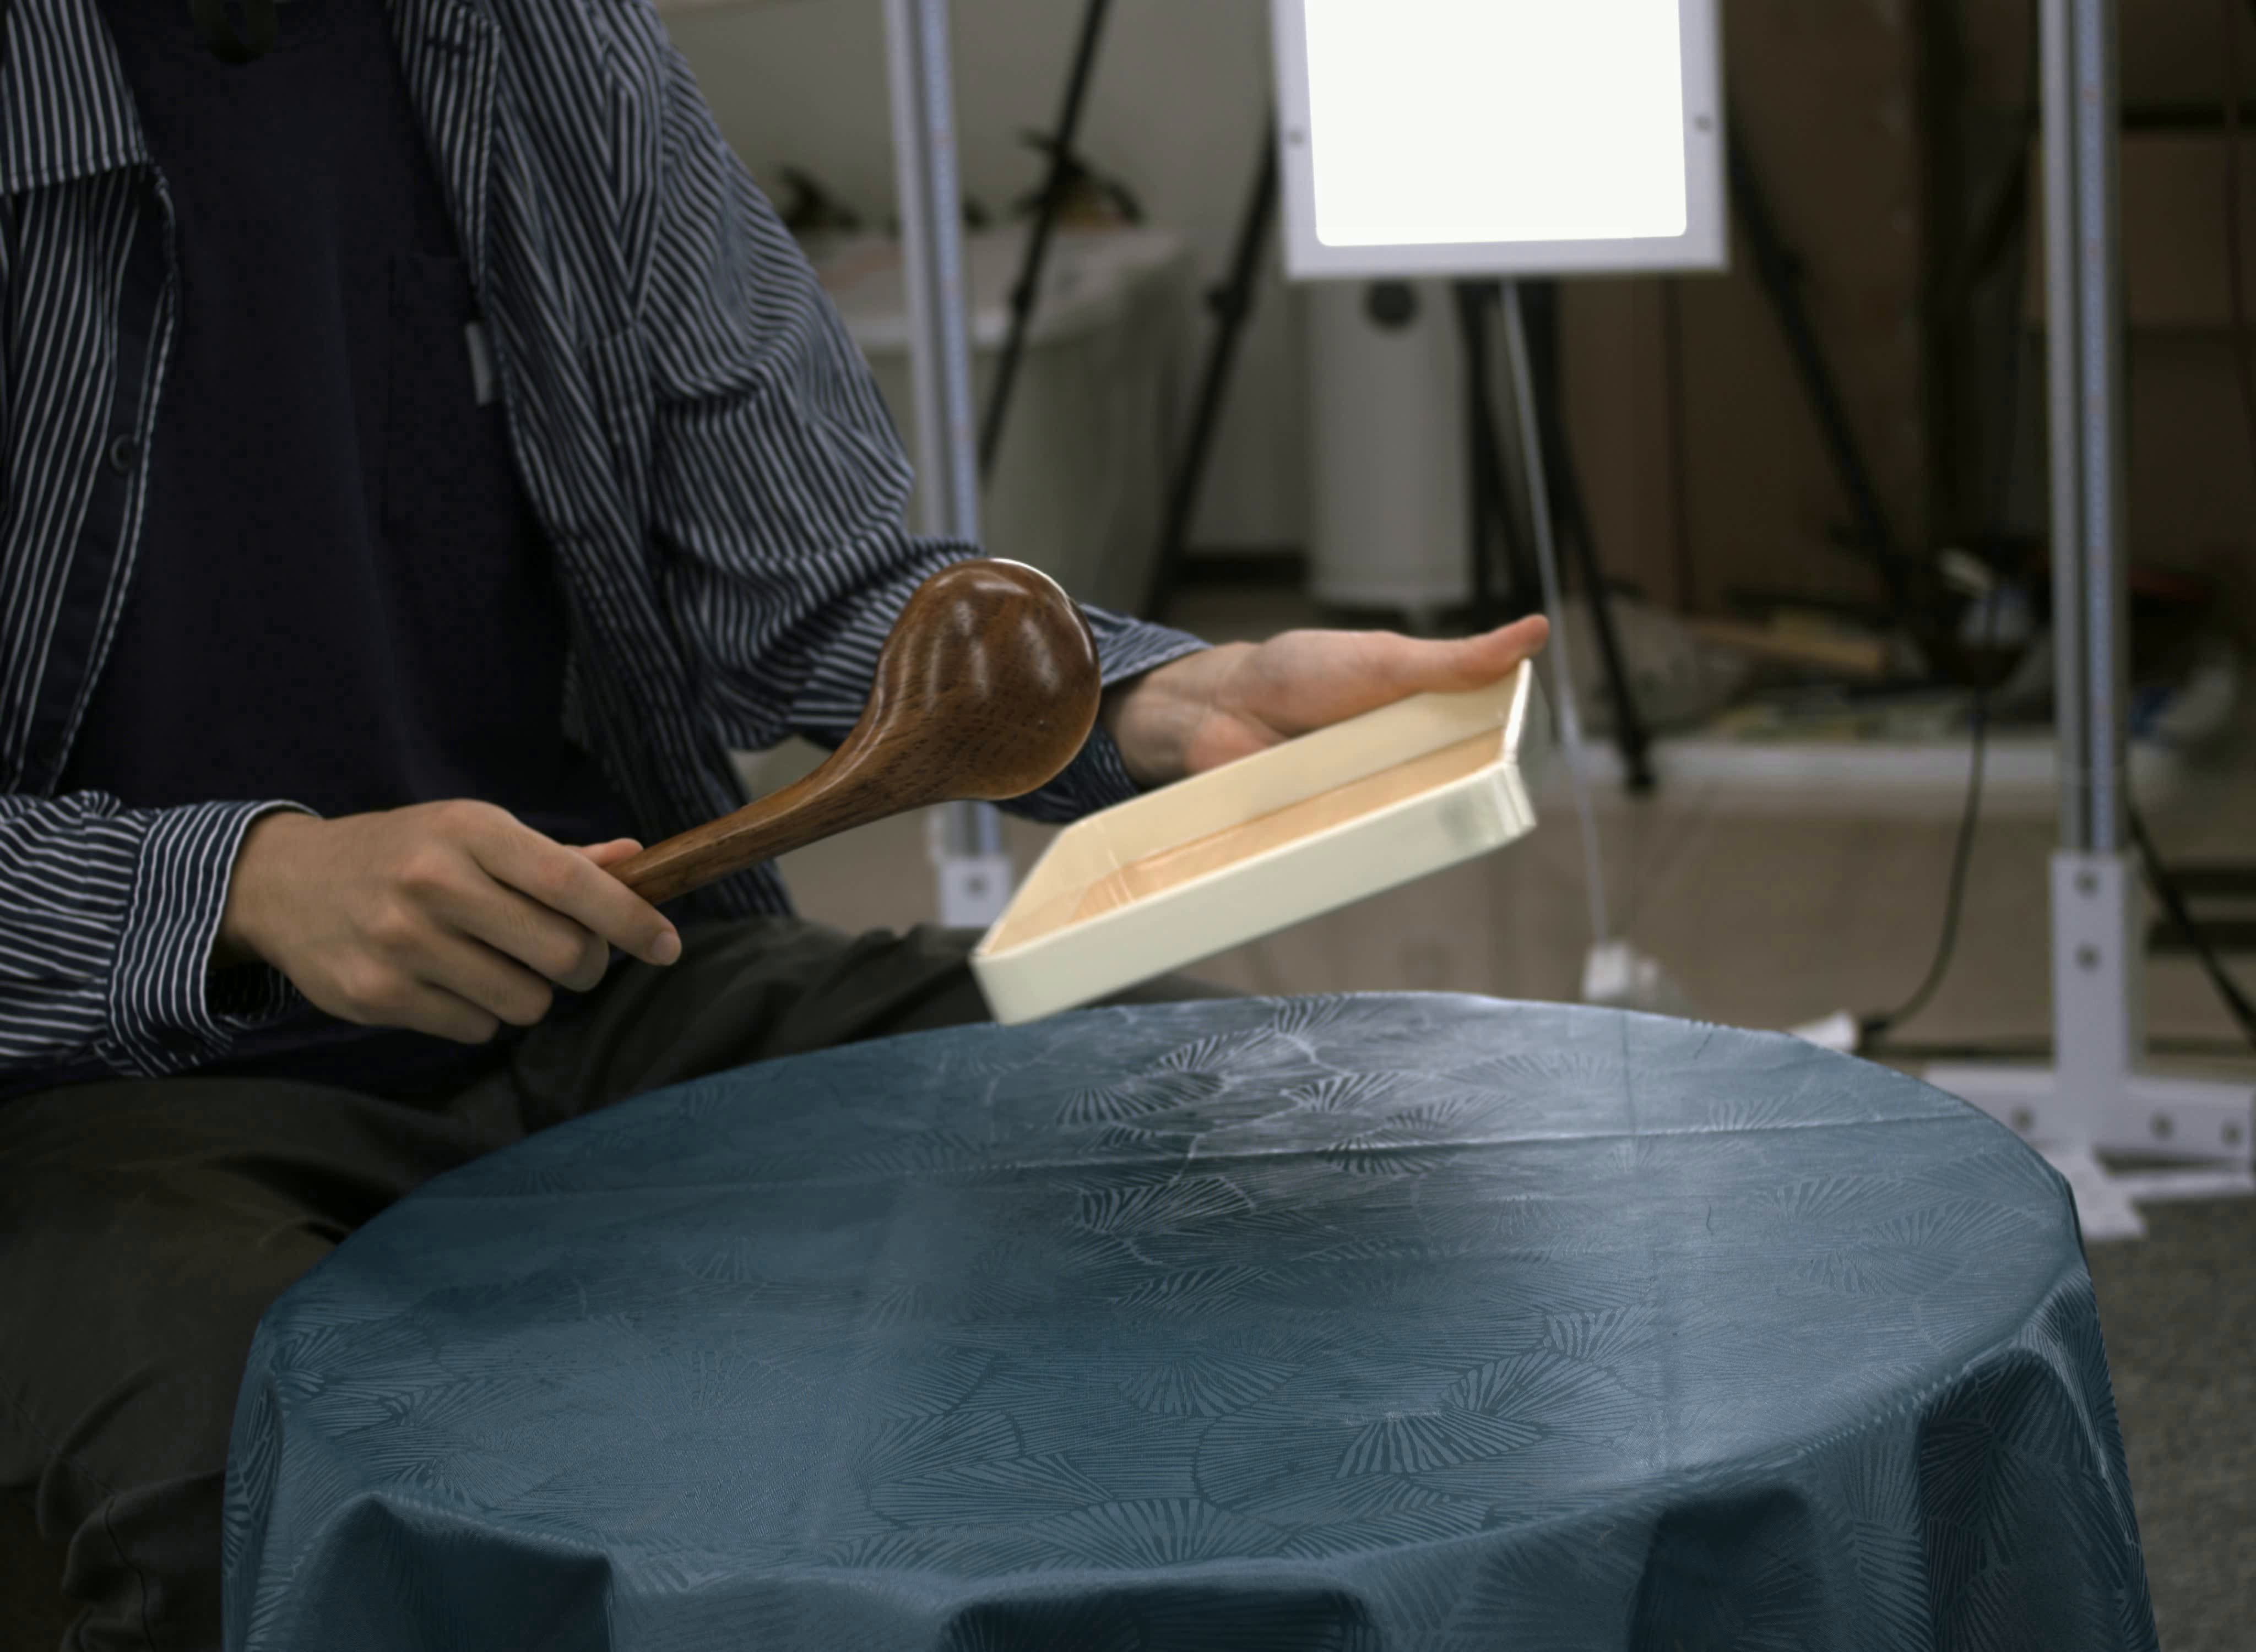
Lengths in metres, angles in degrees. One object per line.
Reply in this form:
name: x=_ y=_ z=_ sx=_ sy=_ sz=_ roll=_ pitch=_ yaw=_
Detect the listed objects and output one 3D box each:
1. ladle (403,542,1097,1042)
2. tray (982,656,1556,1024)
ladle: x=-0.131 y=-0.009 z=1.852 sx=0.279 sy=0.081 sz=0.075 roll=-27 pitch=22 yaw=29
tray: x=0.056 y=0.001 z=1.916 sx=0.193 sy=0.027 sz=0.298 roll=-21 pitch=6 yaw=9
